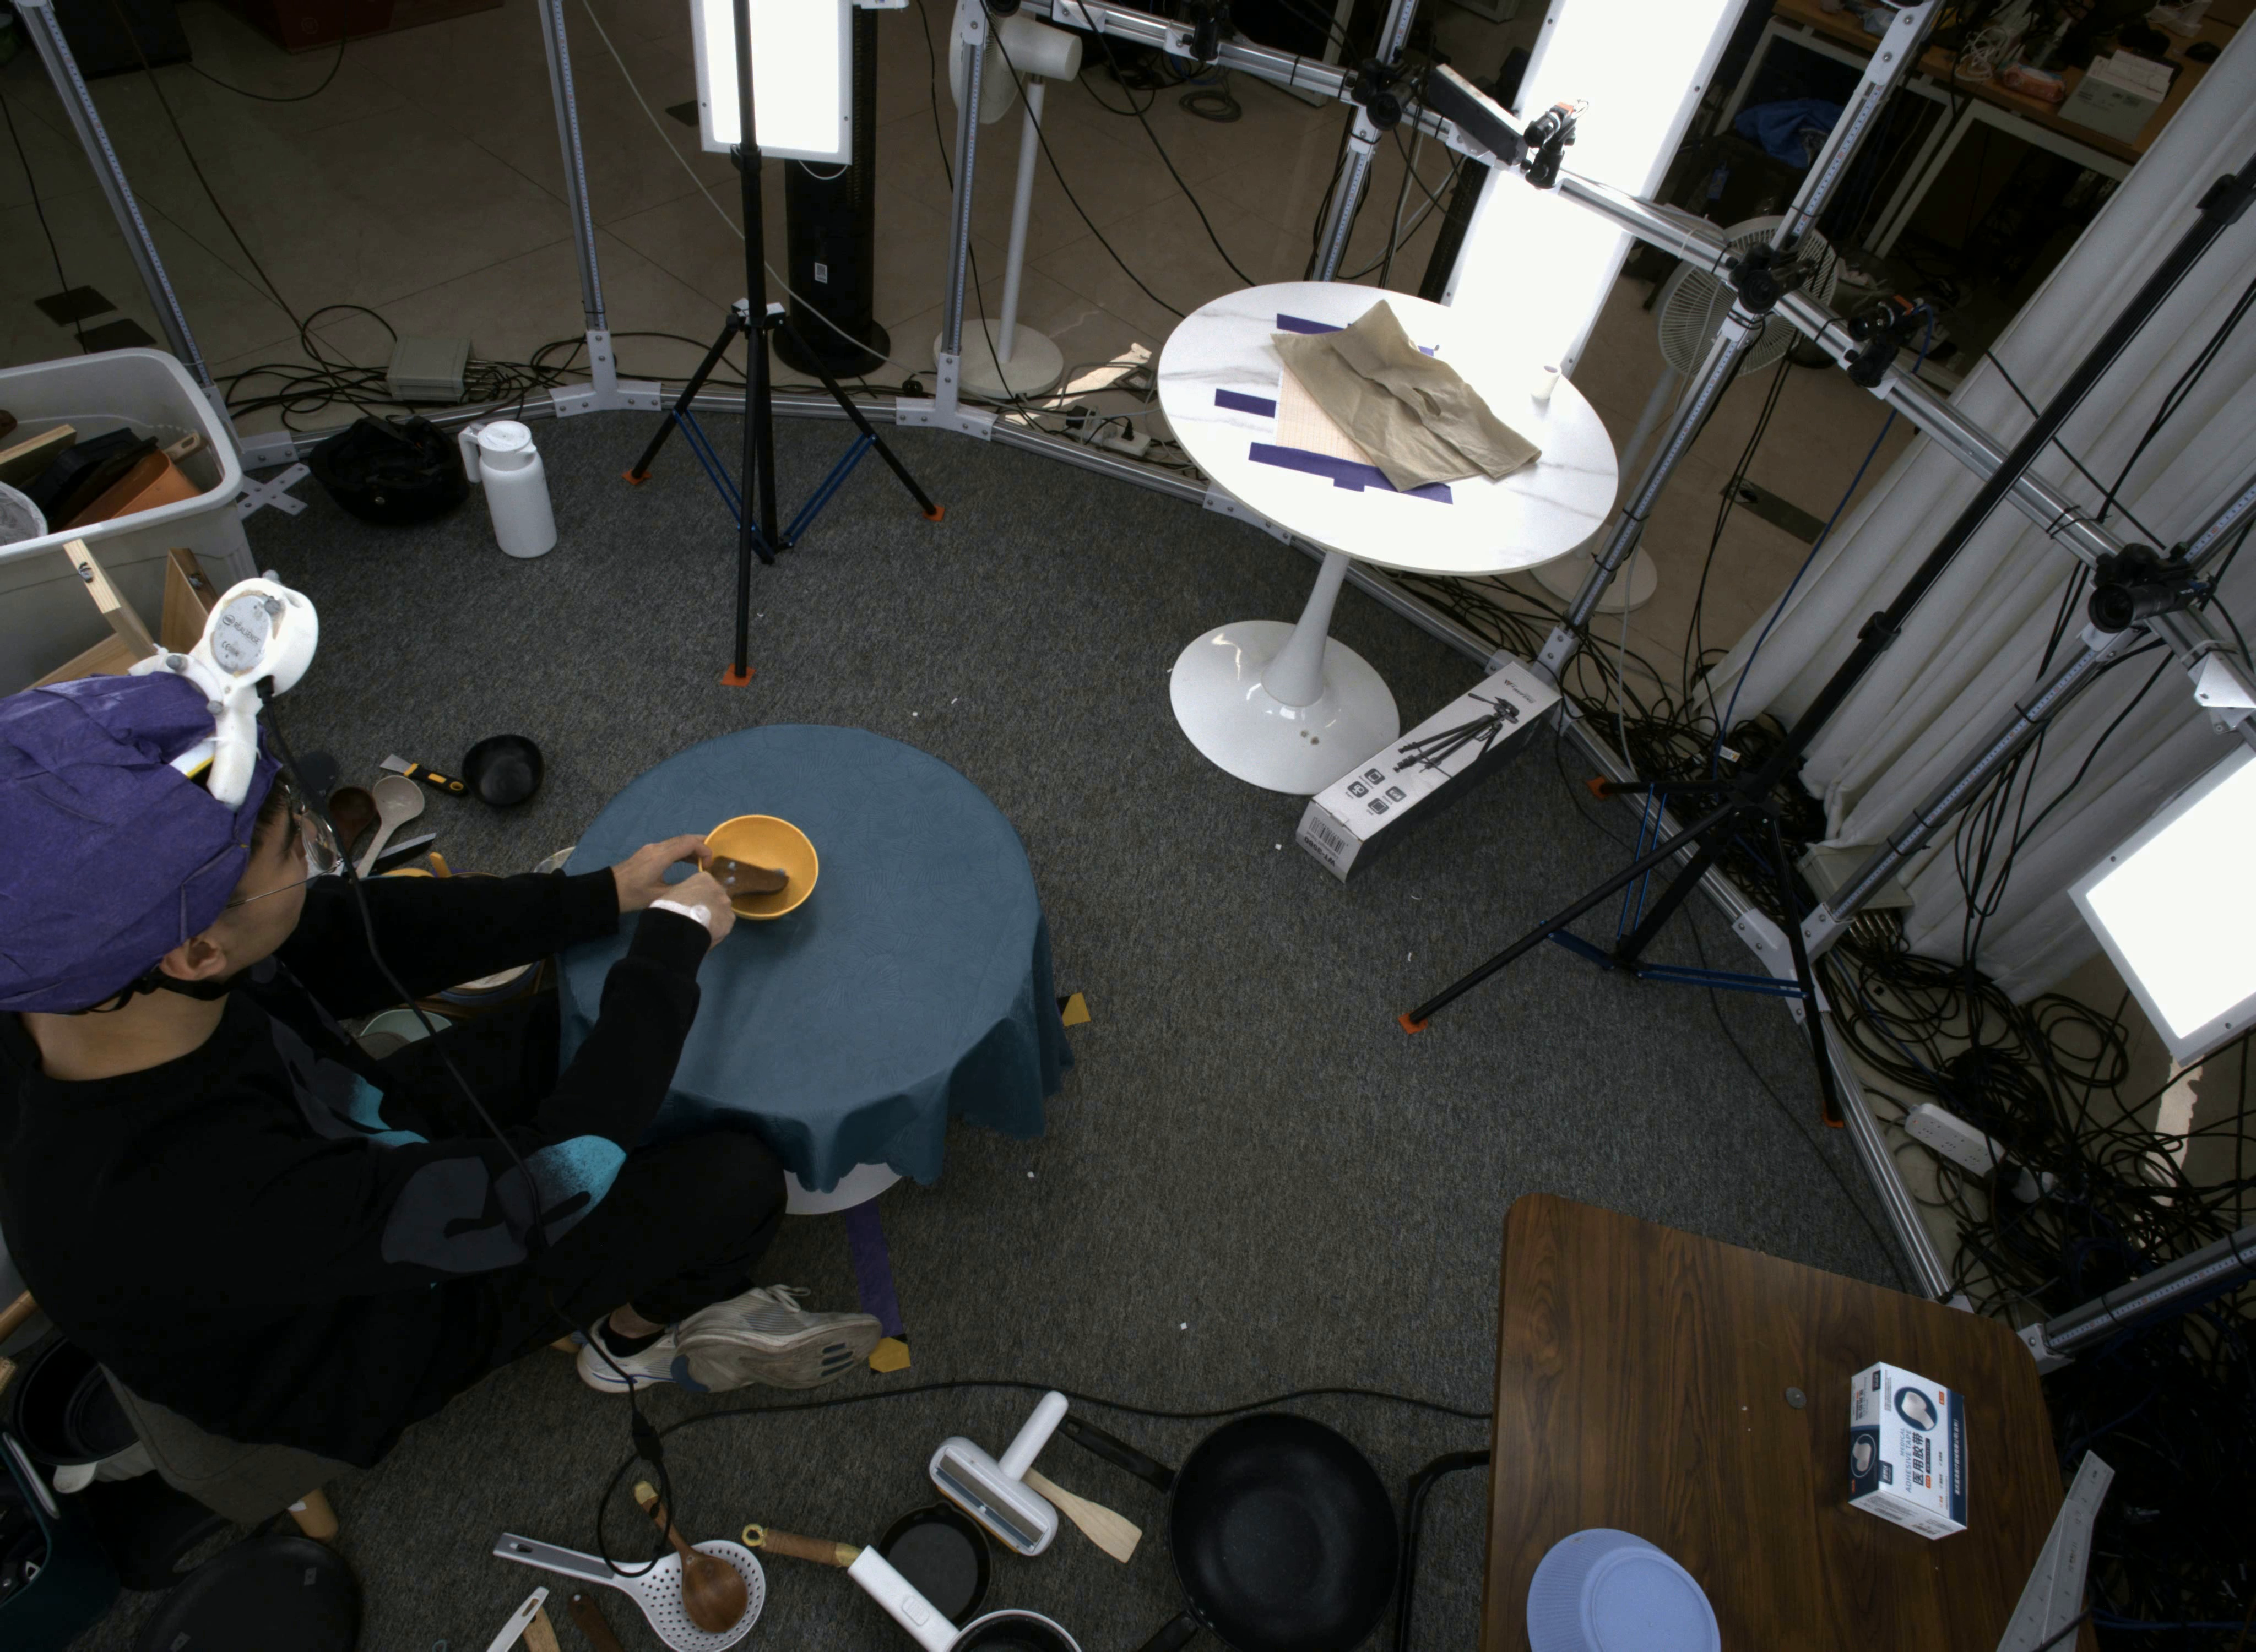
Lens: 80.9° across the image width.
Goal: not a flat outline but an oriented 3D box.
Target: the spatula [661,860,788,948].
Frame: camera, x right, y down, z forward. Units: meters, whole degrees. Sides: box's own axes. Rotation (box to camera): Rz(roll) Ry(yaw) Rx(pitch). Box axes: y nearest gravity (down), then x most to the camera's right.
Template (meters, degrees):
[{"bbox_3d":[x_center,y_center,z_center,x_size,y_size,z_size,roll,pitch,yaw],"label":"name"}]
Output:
[{"bbox_3d":[-0.461,0.084,1.450,0.096,0.381,0.016,18,96,-6],"label":"spatula"}]

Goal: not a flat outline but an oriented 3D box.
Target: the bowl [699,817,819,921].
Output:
[{"bbox_3d":[-0.462,0.063,1.618,0.146,0.061,0.143,11,55,-14],"label":"bowl"}]
